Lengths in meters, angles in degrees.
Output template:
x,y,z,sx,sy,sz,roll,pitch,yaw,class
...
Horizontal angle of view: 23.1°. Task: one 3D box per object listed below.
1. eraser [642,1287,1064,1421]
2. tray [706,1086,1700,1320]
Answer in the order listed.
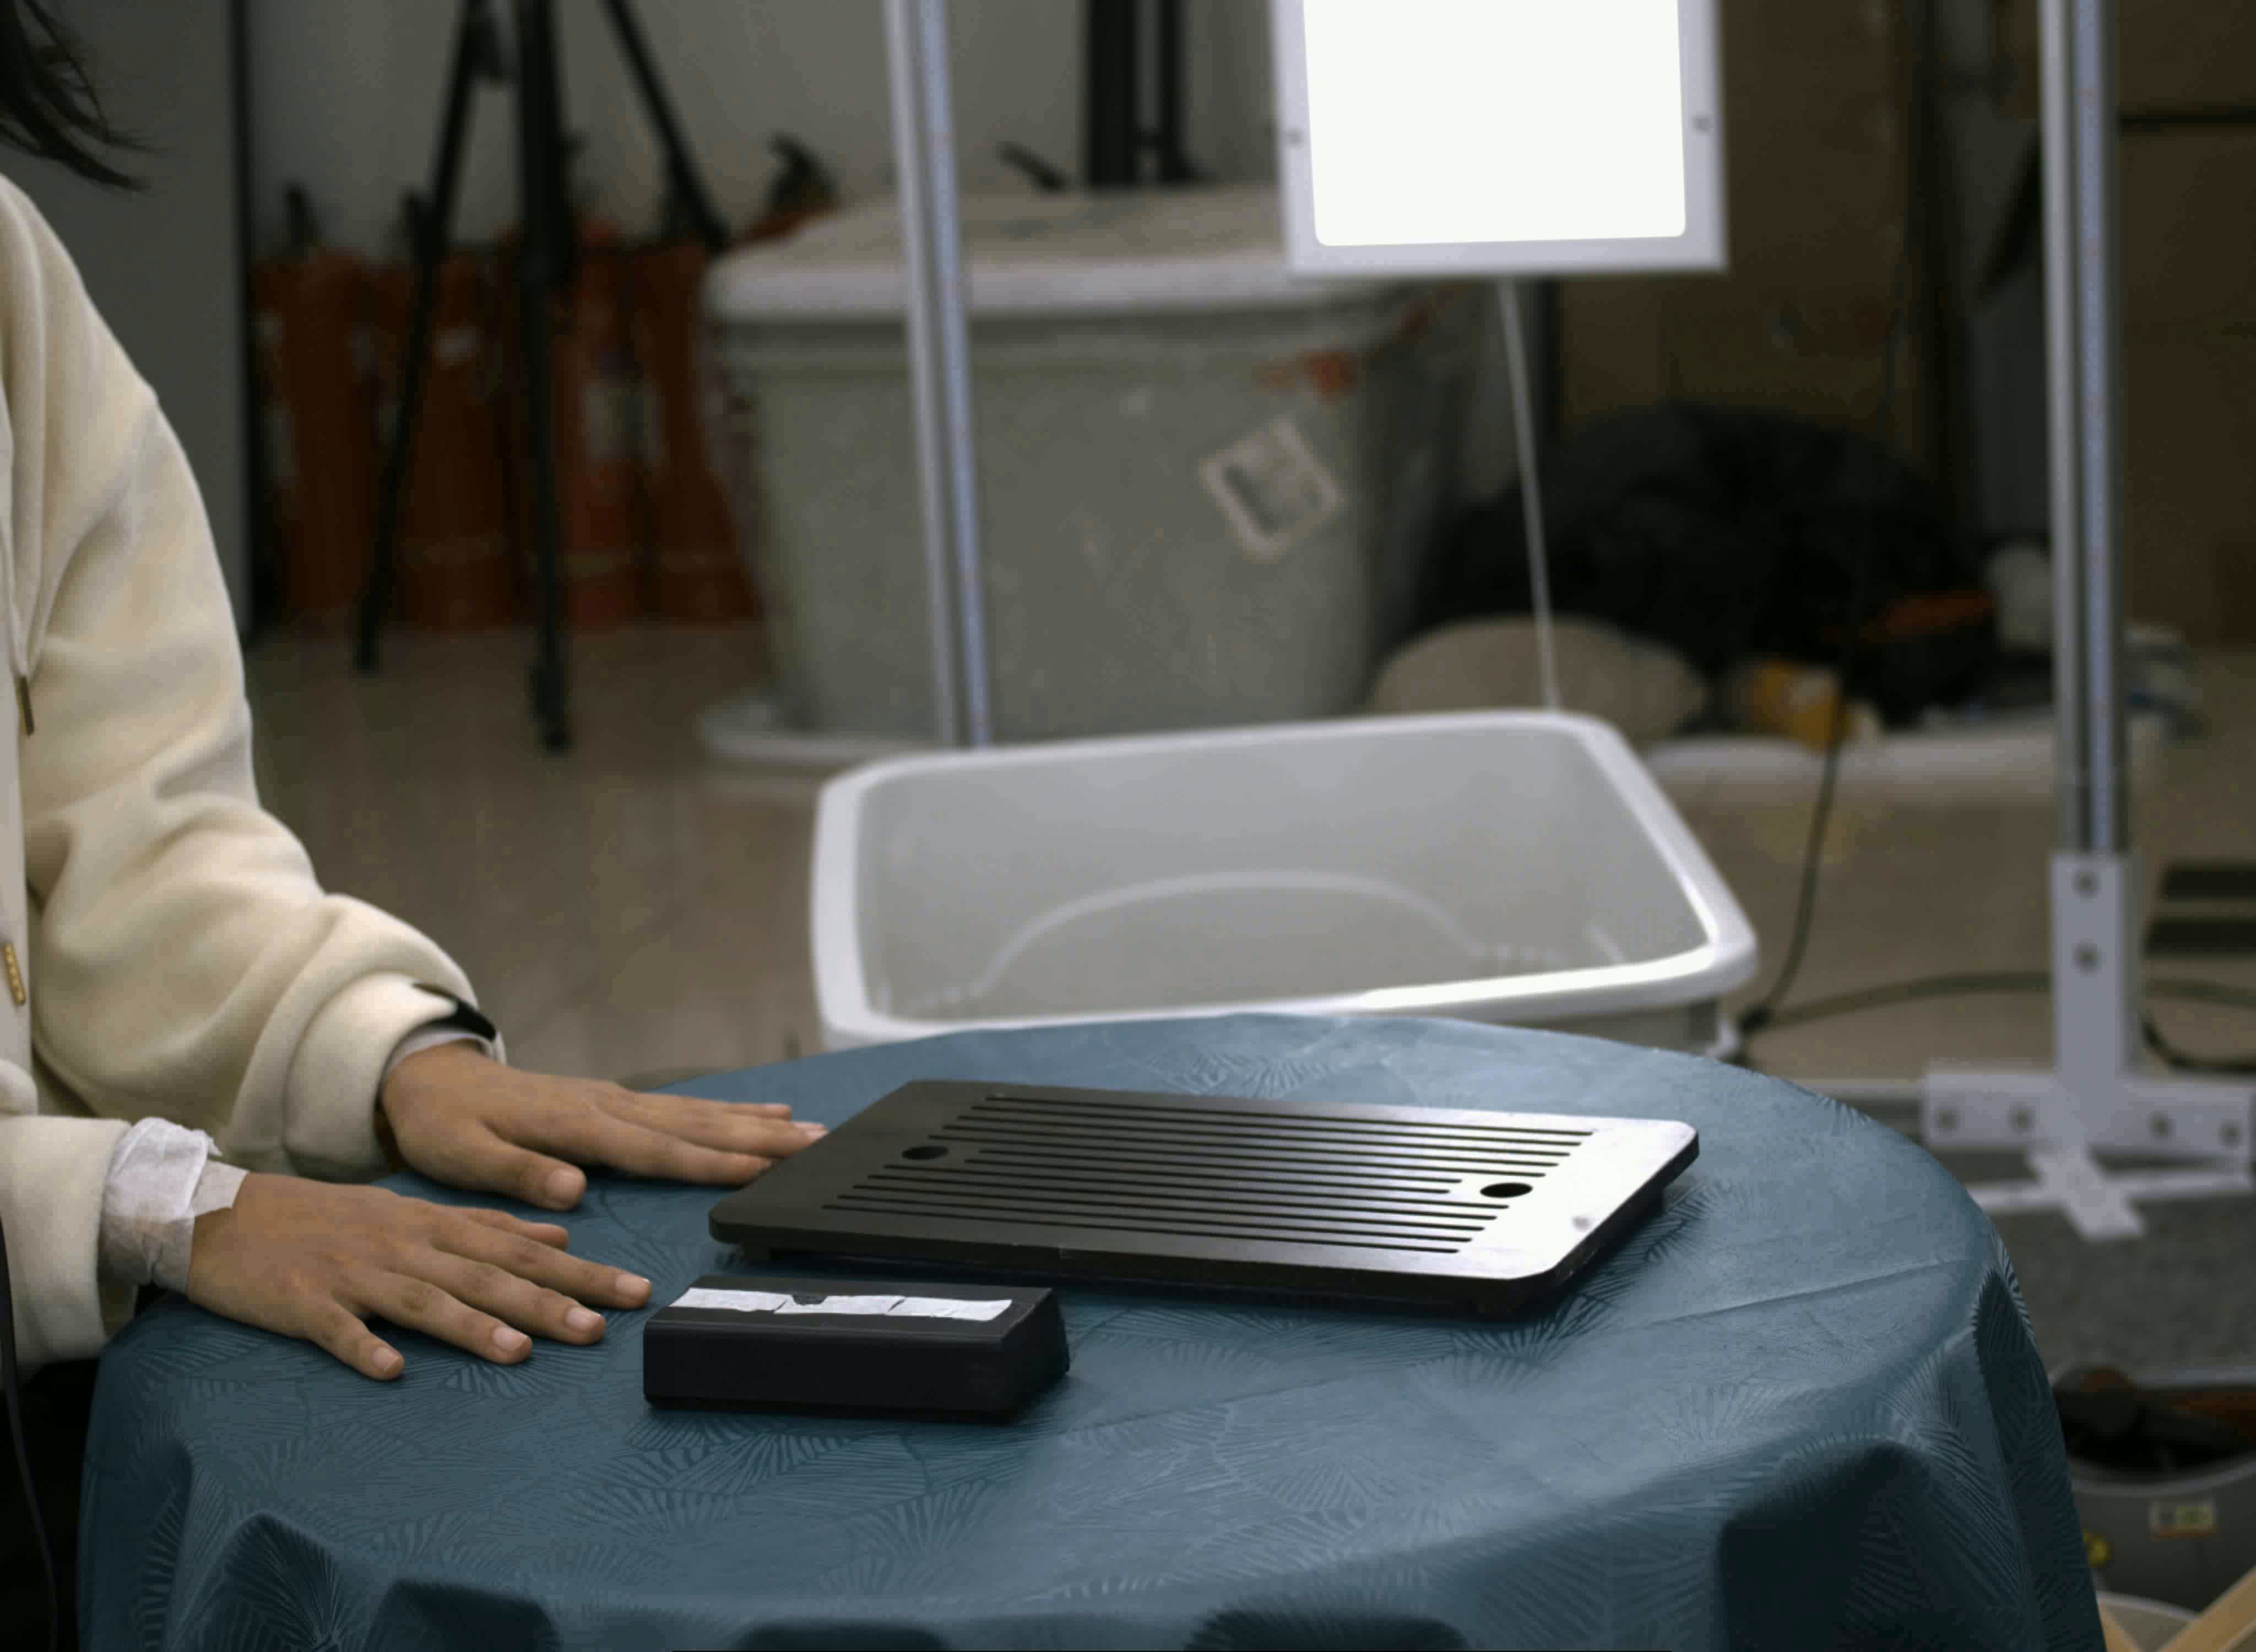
x,y,z,sx,sy,sz,roll,pitch,yaw,class
-0.084,0.164,1.720,0.127,0.030,0.052,-1,12,22,eraser
0.026,0.125,1.856,0.311,0.019,0.166,2,15,26,tray
